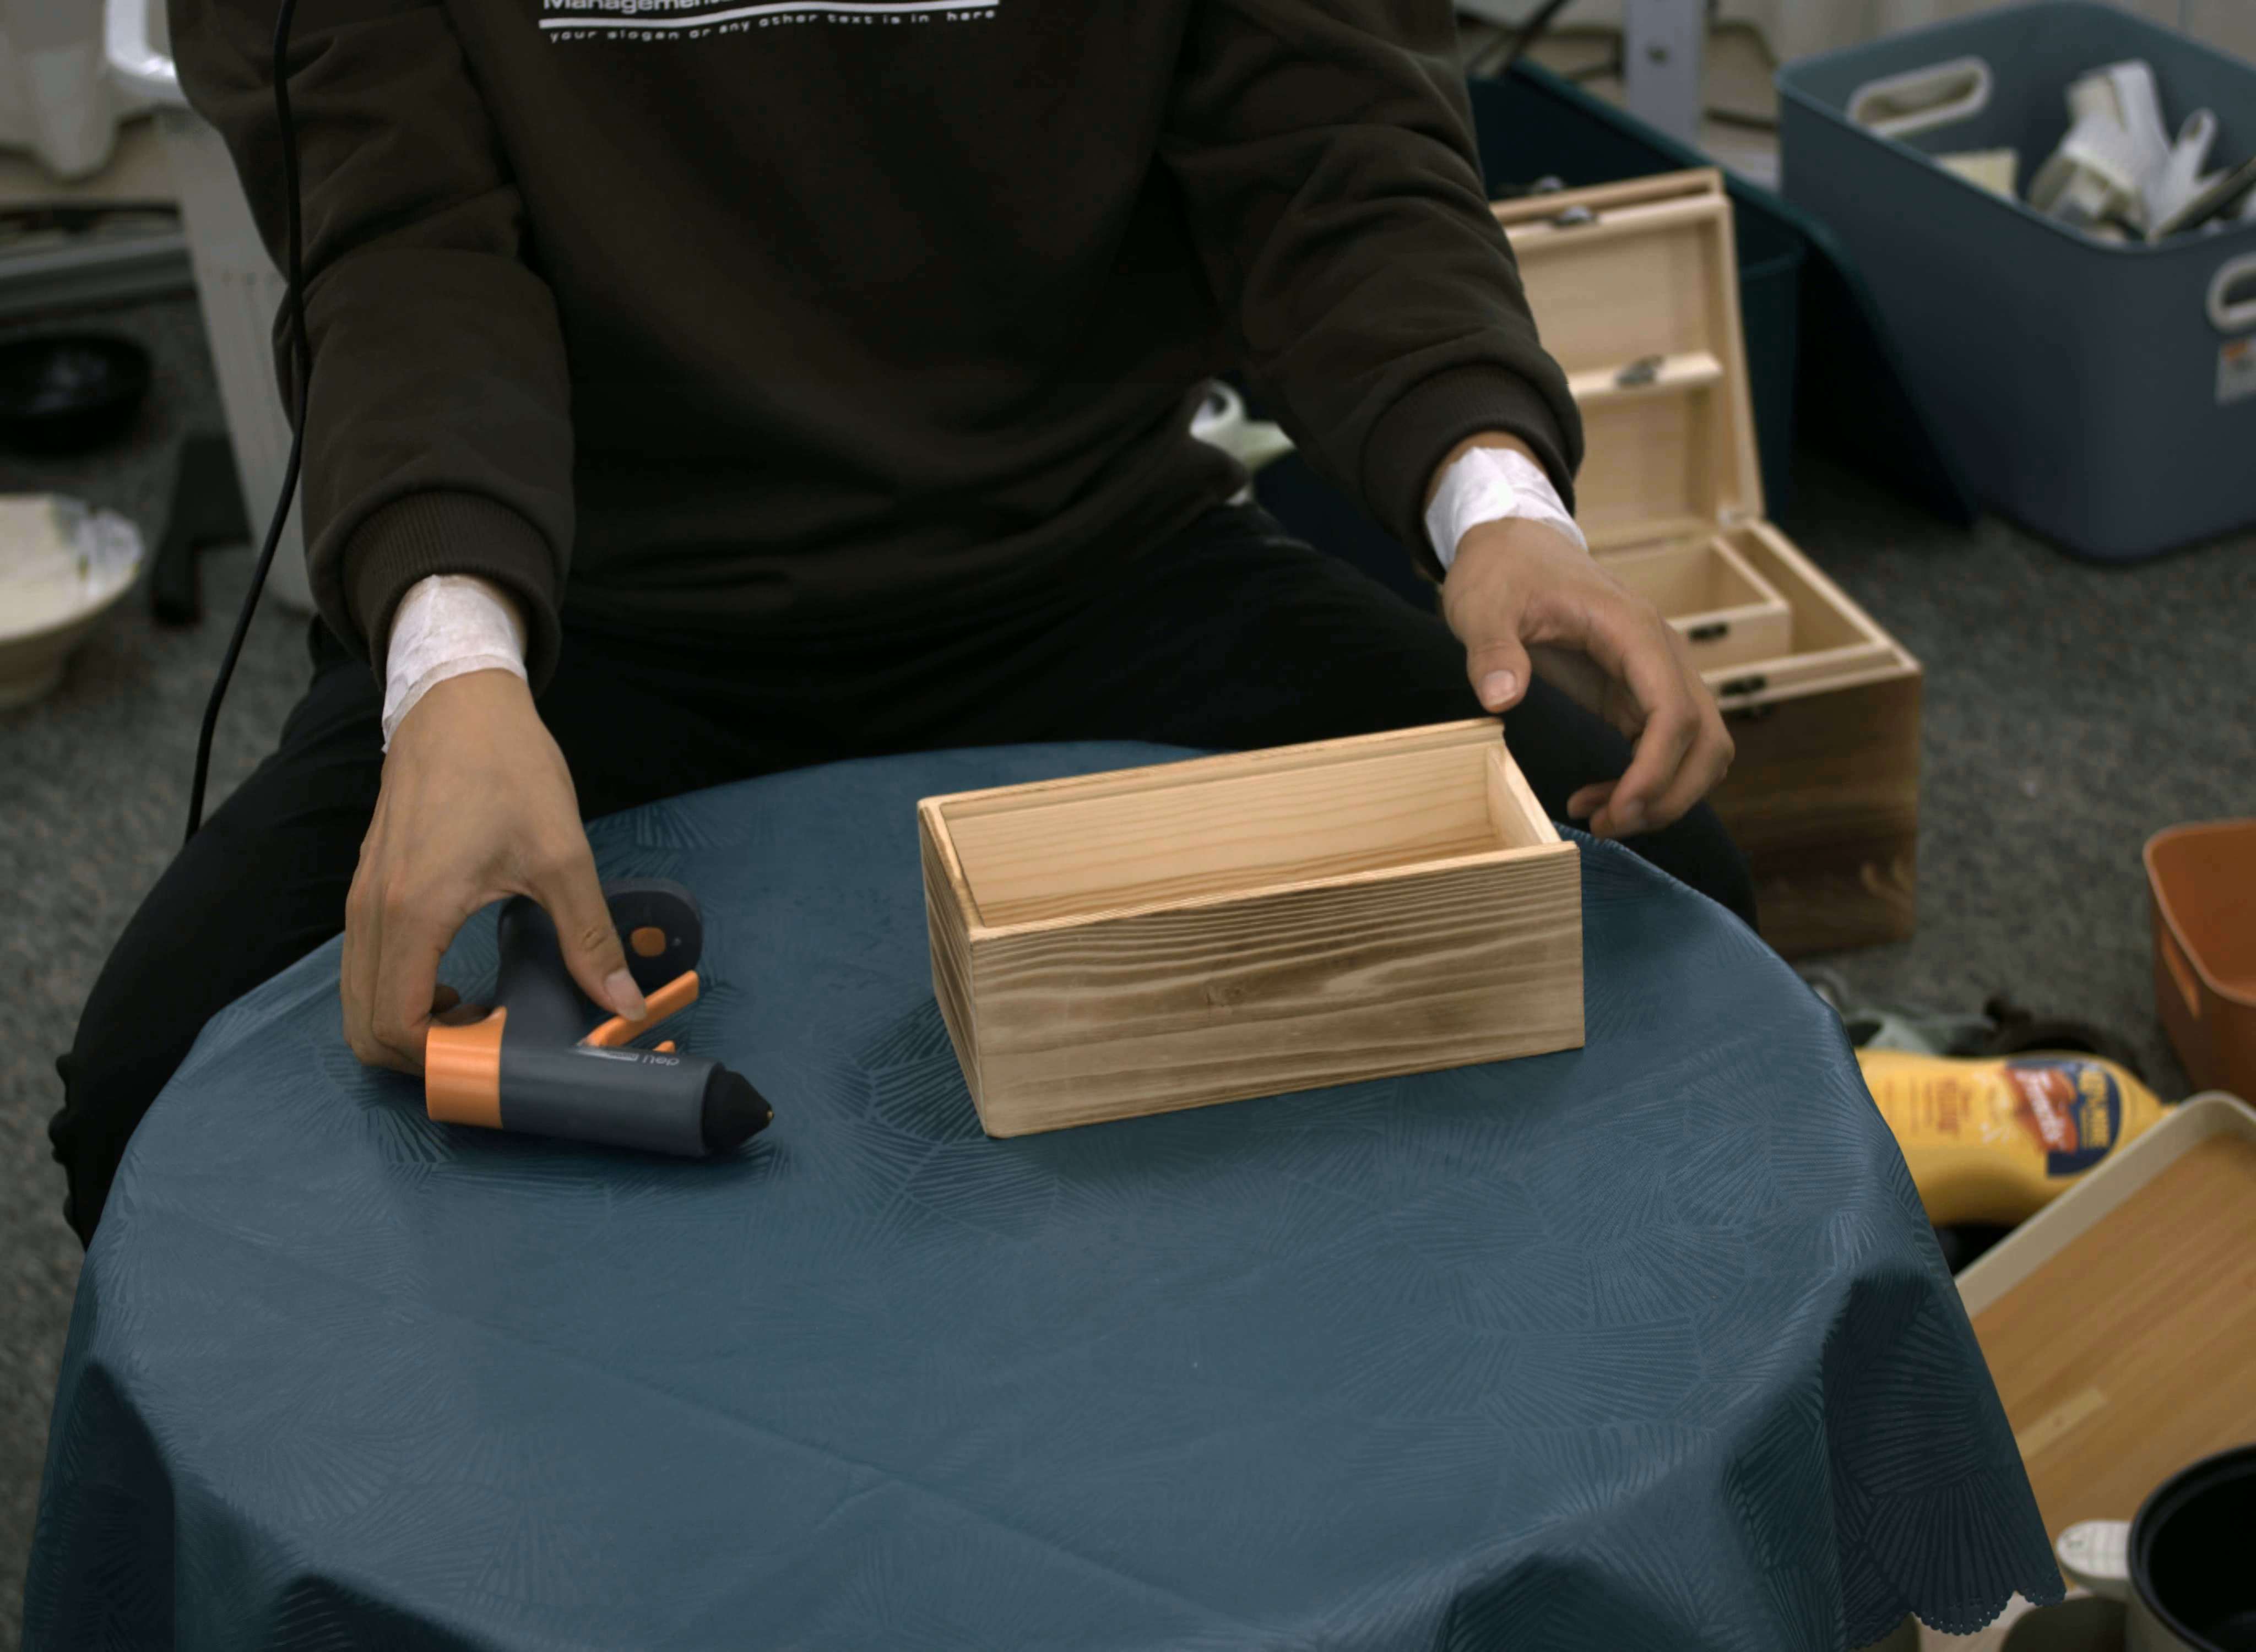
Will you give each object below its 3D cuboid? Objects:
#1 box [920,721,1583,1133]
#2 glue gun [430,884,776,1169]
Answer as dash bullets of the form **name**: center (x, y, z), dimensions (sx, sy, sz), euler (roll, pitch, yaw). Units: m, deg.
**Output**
- **box**: center (0.042, 0.034, 1.946), dimensions (0.211, 0.079, 0.109), euler (-8, 27, -10)
- **glue gun**: center (-0.180, 0.073, 1.943), dimensions (0.117, 0.040, 0.142), euler (2, 28, -5)
